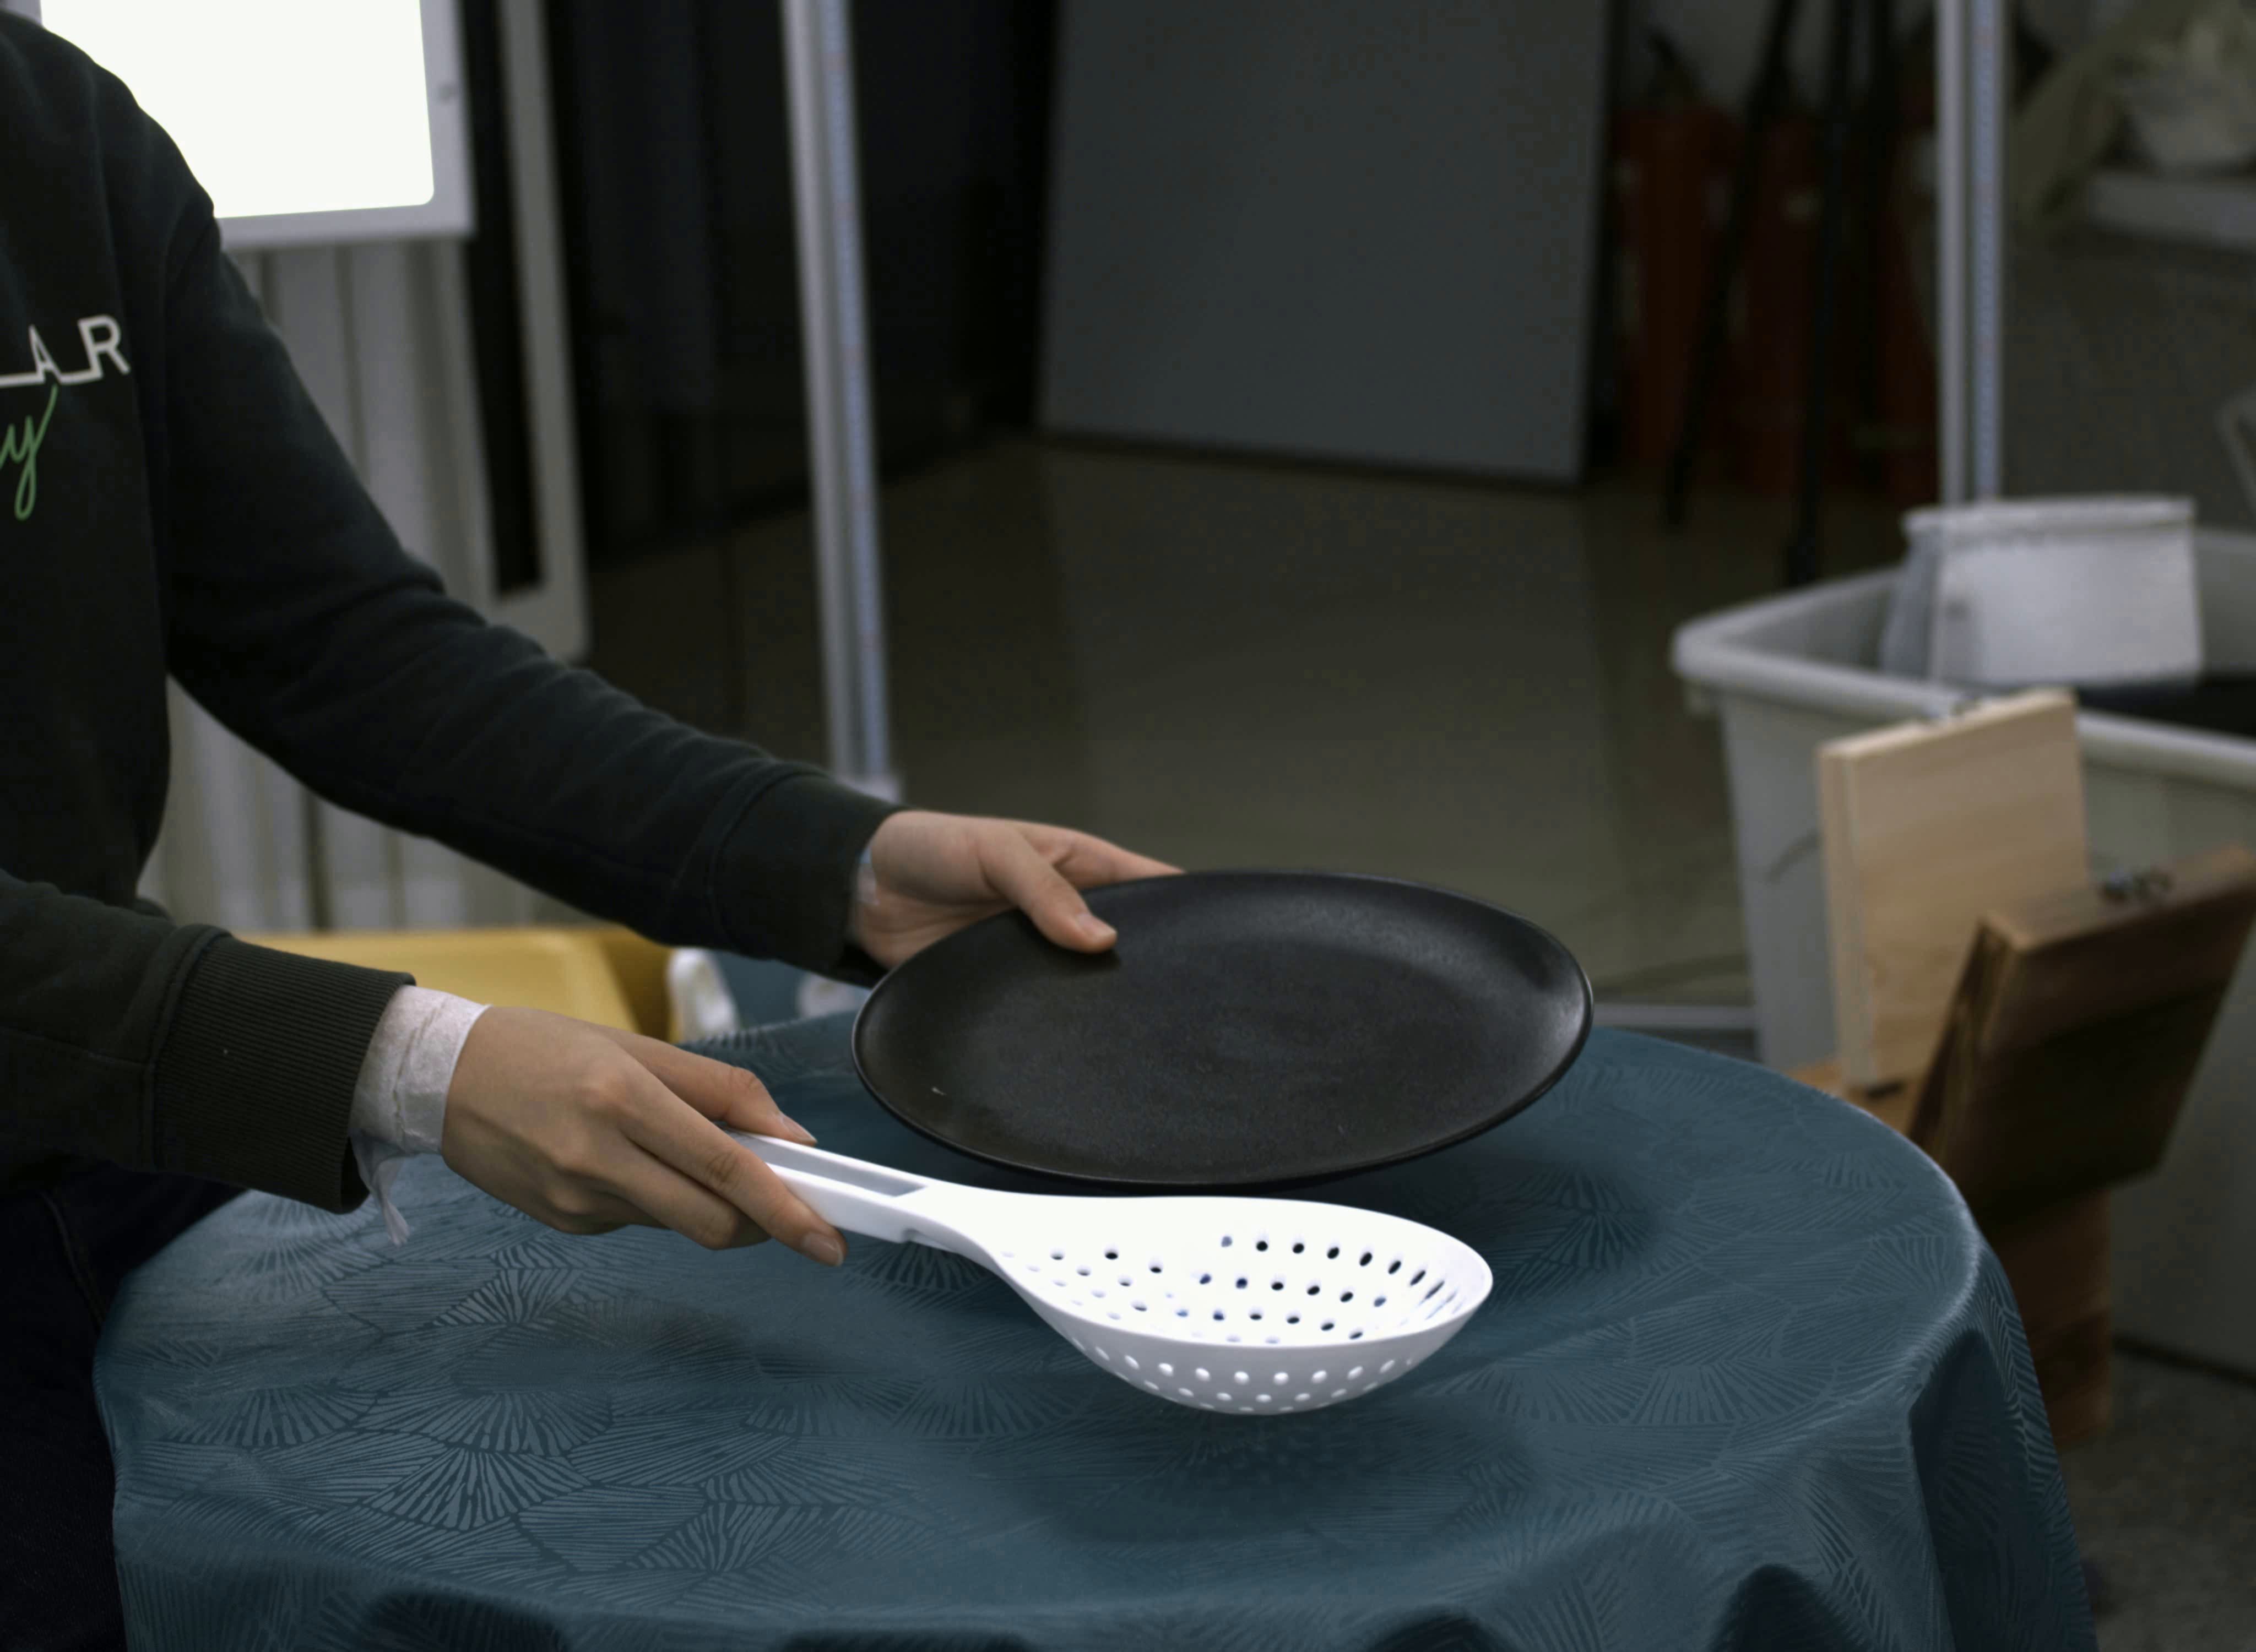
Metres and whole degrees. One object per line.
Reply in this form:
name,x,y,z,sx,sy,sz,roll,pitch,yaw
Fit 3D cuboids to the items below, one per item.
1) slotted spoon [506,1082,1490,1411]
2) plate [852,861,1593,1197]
slotted spoon,-0.050,0.115,1.595,0.352,0.046,0.133,16,18,35
plate,0.031,0.070,1.750,0.241,0.023,0.245,-5,23,1
